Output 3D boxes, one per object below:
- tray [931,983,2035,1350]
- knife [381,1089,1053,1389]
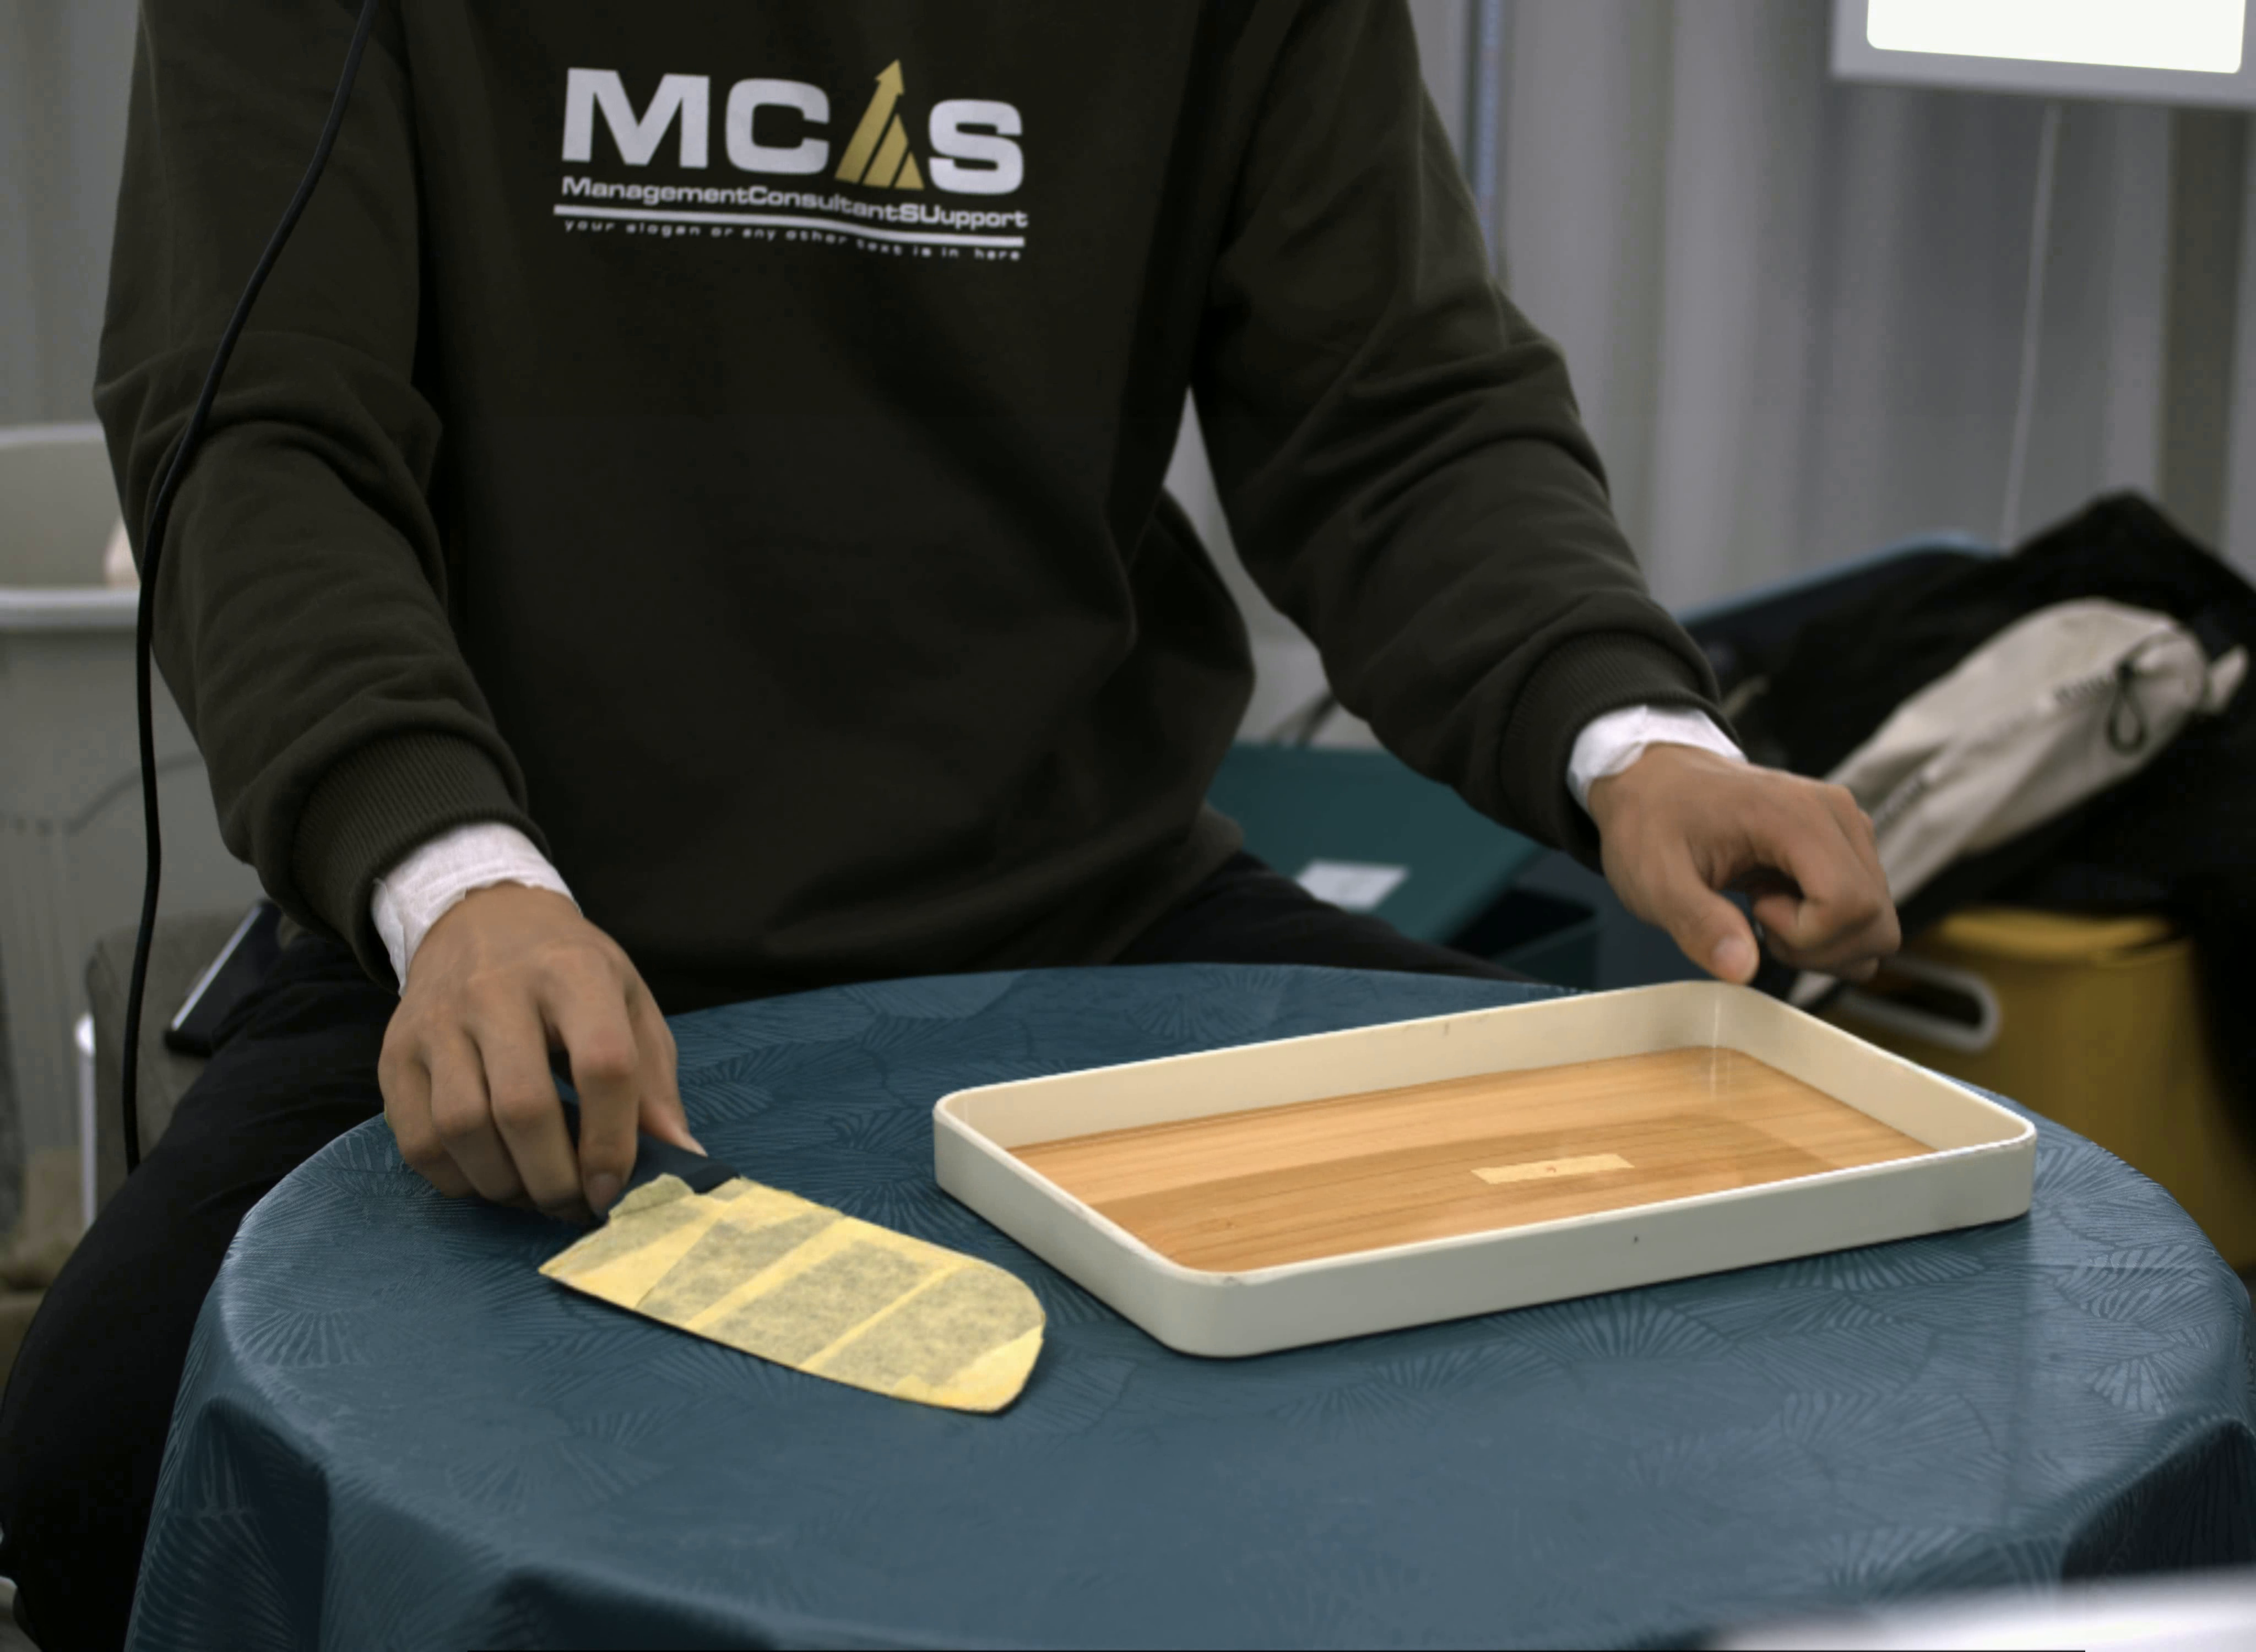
[{"bbox_3d":[0.108,0.101,1.620,0.301,0.027,0.189,-7,16,-26],"label":"tray"},{"bbox_3d":[-0.131,0.121,1.546,0.285,0.027,0.081,15,31,41],"label":"knife"}]
